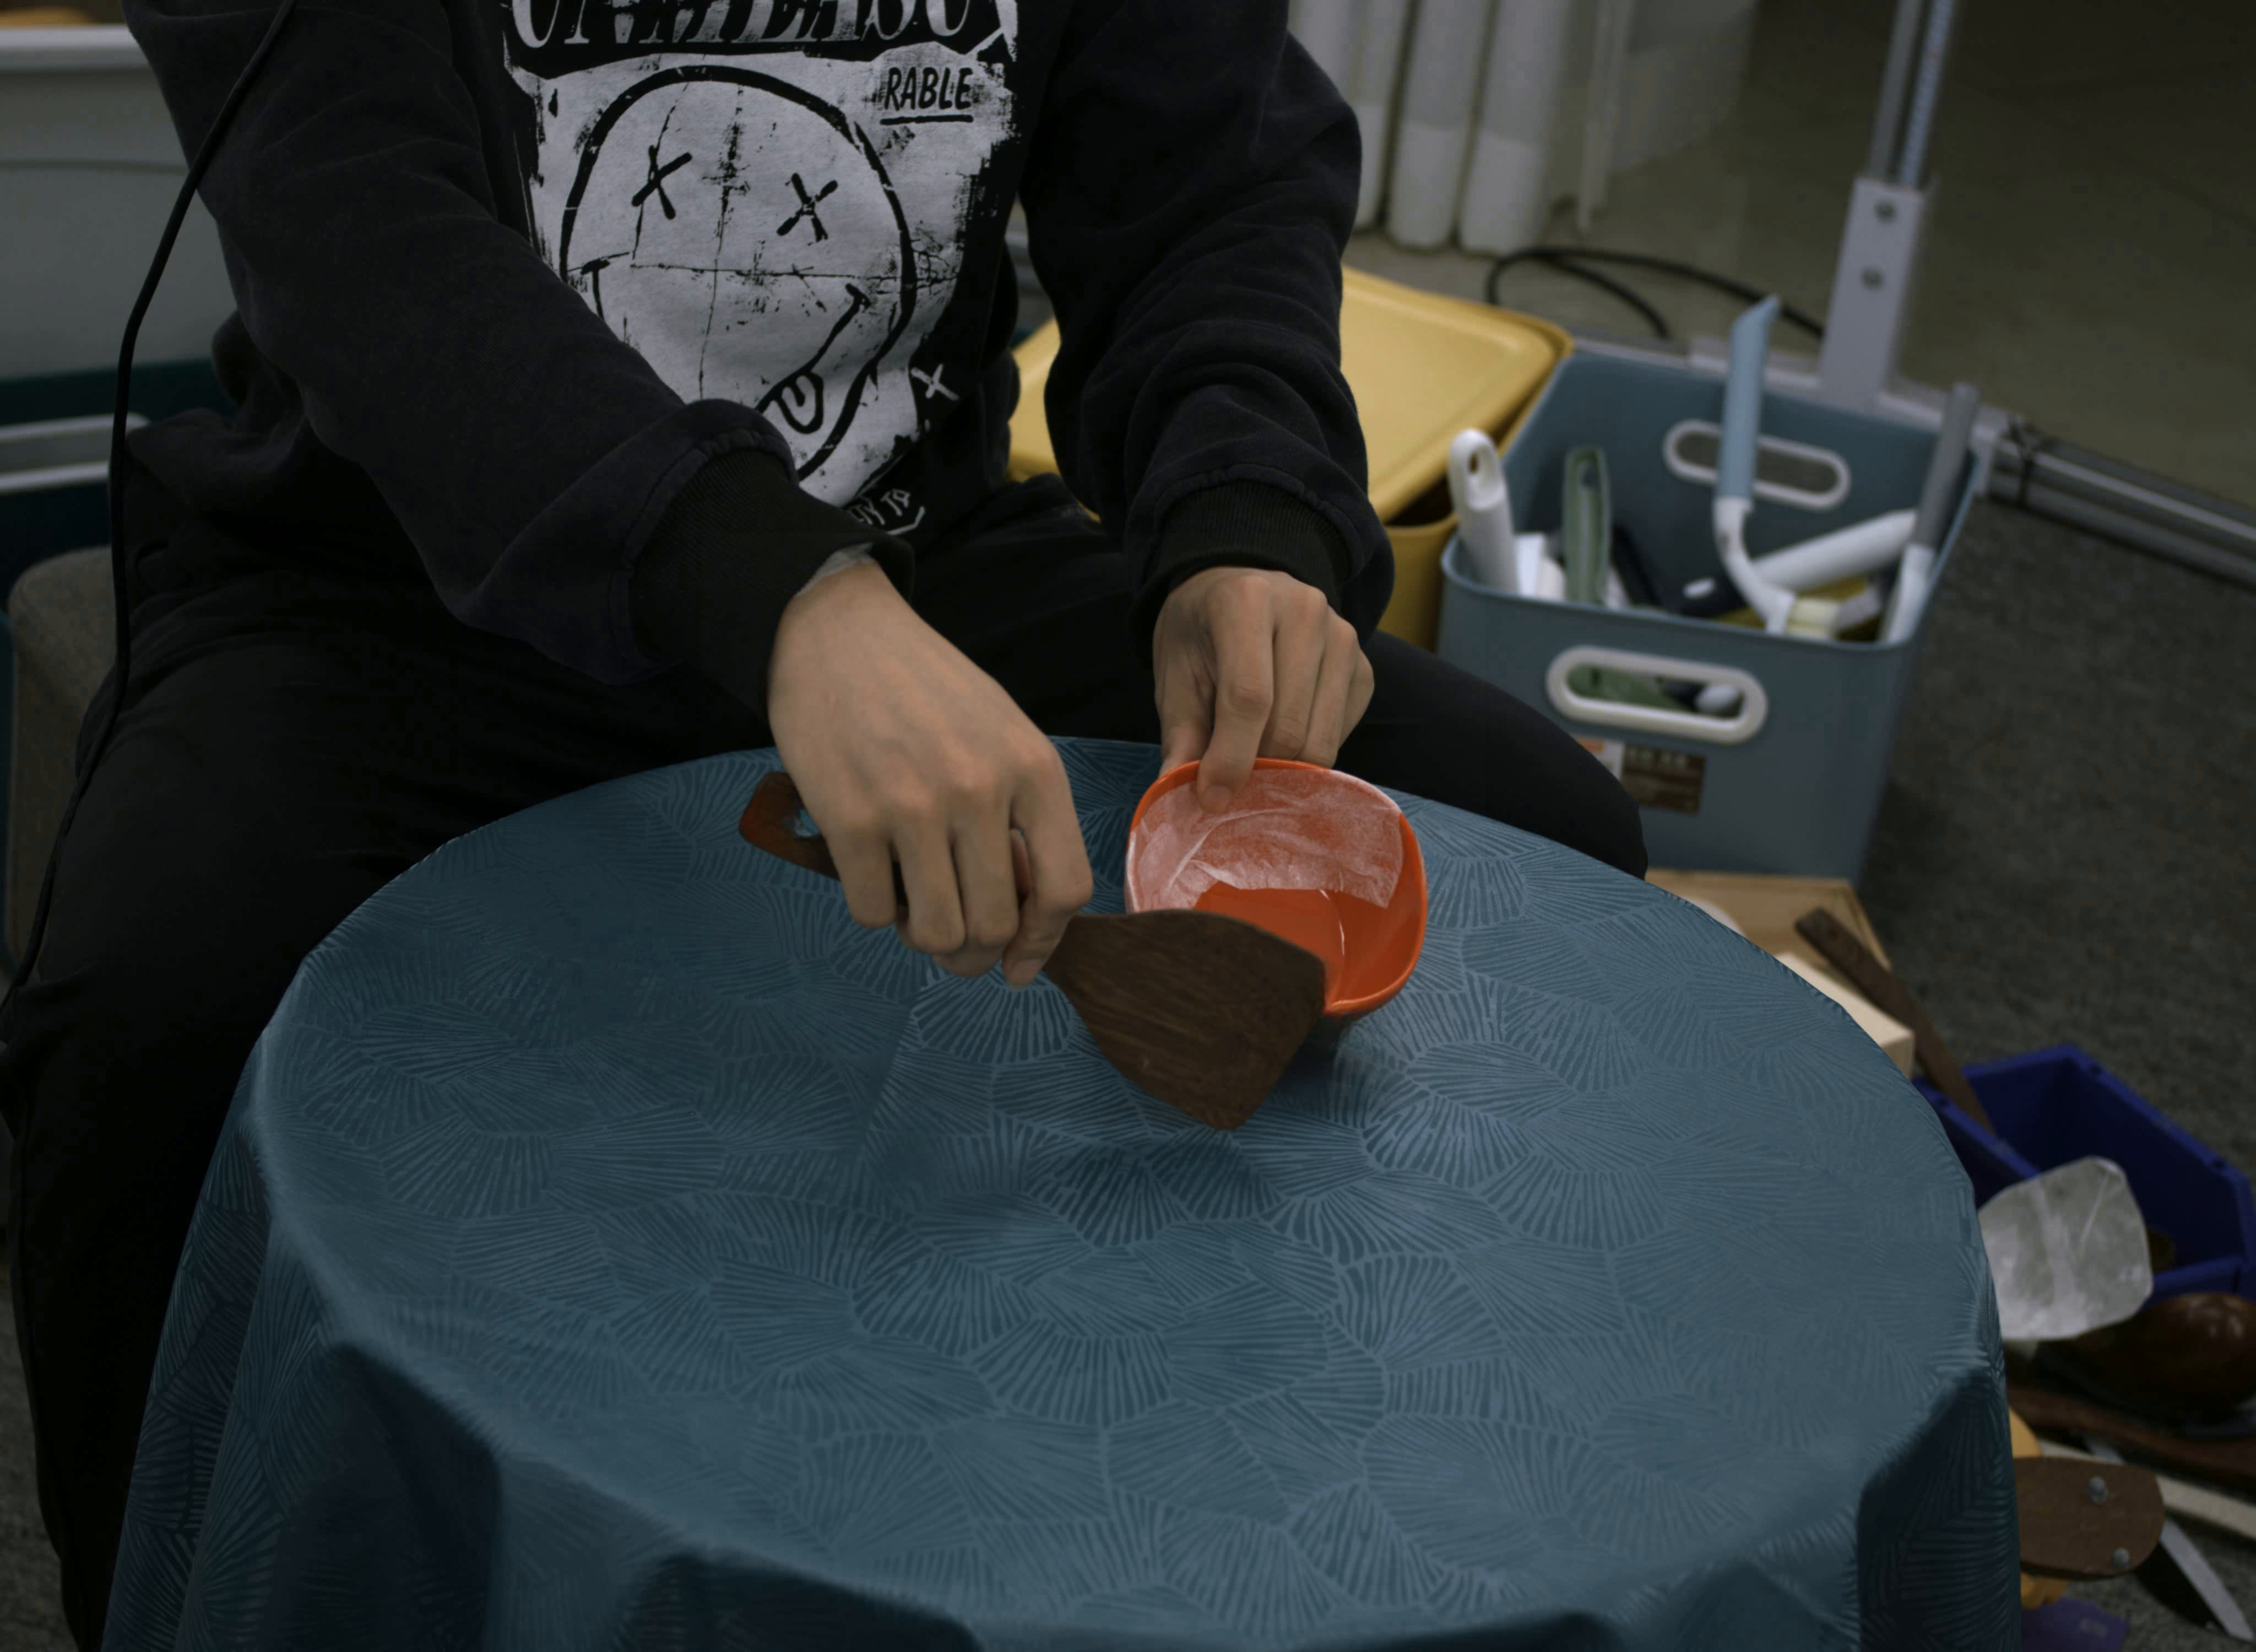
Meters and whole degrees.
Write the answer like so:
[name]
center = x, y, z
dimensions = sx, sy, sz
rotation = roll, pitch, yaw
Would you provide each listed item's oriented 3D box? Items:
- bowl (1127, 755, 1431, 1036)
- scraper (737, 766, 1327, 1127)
[bowl]
center = 0.050, 0.034, 1.907
dimensions = 0.118, 0.051, 0.120
rotation = 6, 53, -9
[scraper]
center = -0.035, 0.032, 1.803
dimensions = 0.210, 0.076, 0.011
rotation = 25, 17, -14
